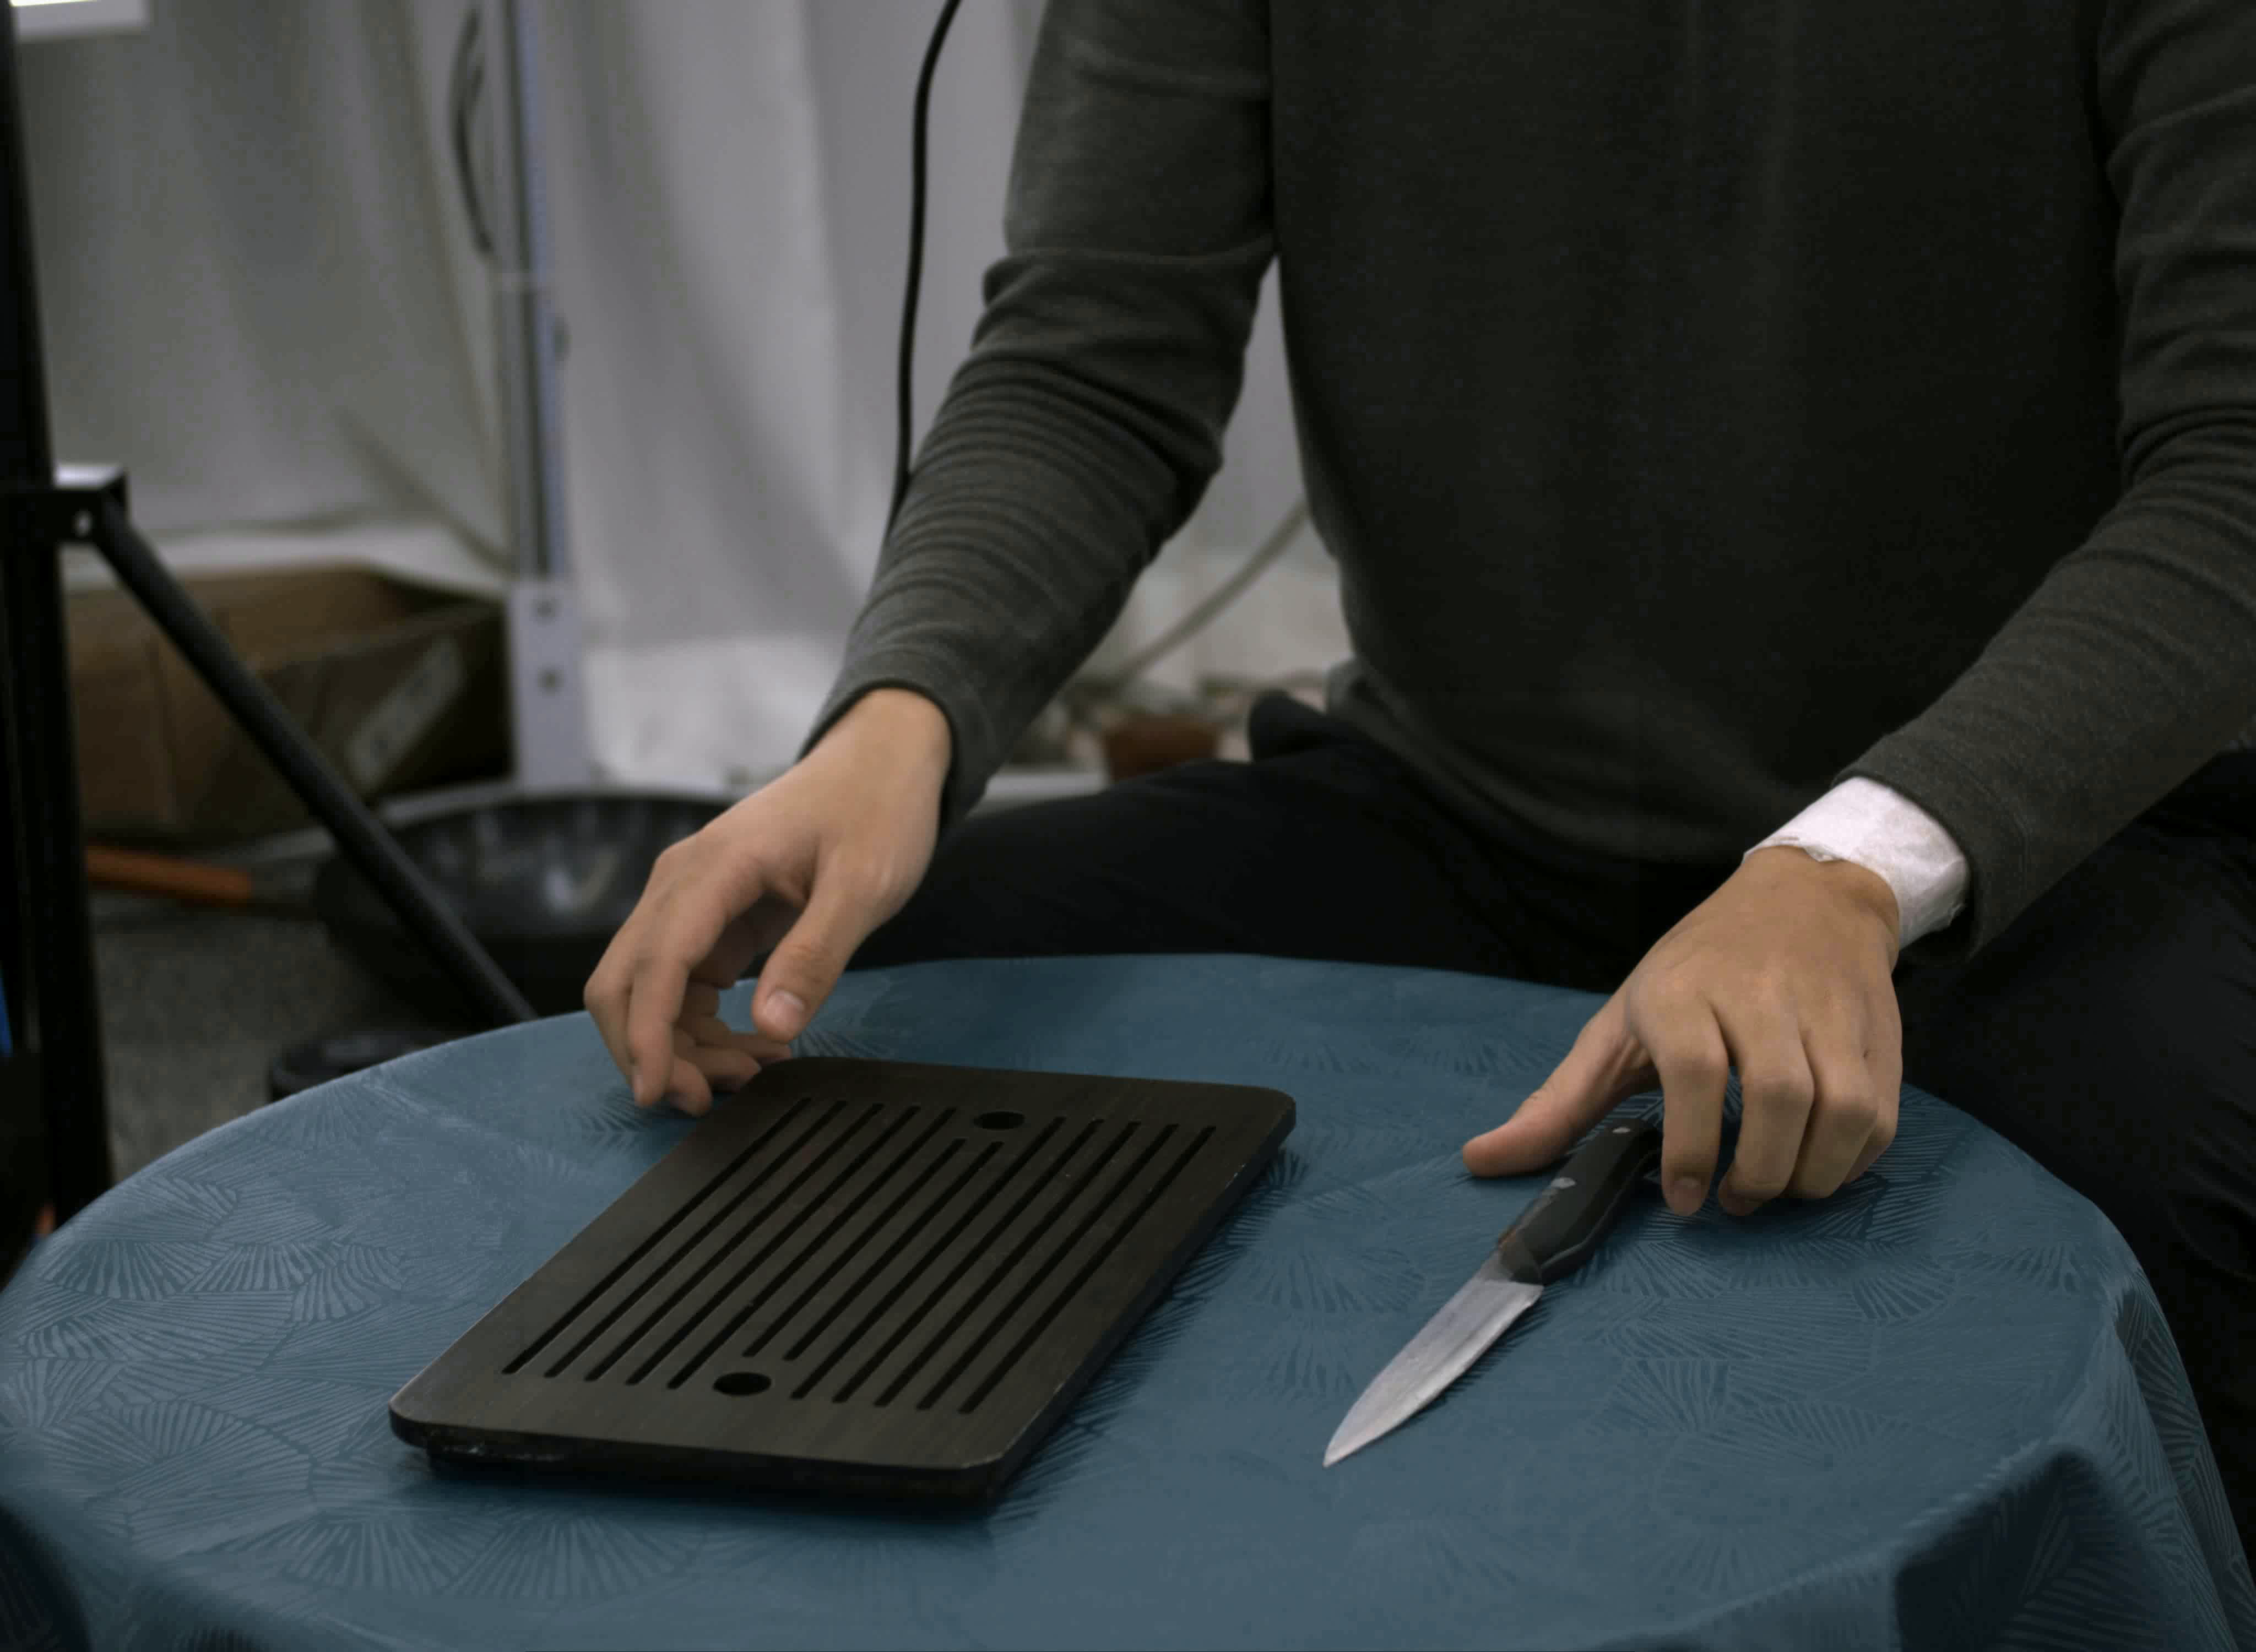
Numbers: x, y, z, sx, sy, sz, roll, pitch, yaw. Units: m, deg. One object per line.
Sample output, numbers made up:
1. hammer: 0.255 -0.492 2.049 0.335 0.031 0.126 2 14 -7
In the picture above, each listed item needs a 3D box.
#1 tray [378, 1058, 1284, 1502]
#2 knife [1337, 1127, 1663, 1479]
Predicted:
1. tray: -0.074 0.123 1.487 0.172 0.018 0.303 3 17 17
2. knife: 0.100 0.129 1.451 0.025 0.016 0.235 5 20 24
